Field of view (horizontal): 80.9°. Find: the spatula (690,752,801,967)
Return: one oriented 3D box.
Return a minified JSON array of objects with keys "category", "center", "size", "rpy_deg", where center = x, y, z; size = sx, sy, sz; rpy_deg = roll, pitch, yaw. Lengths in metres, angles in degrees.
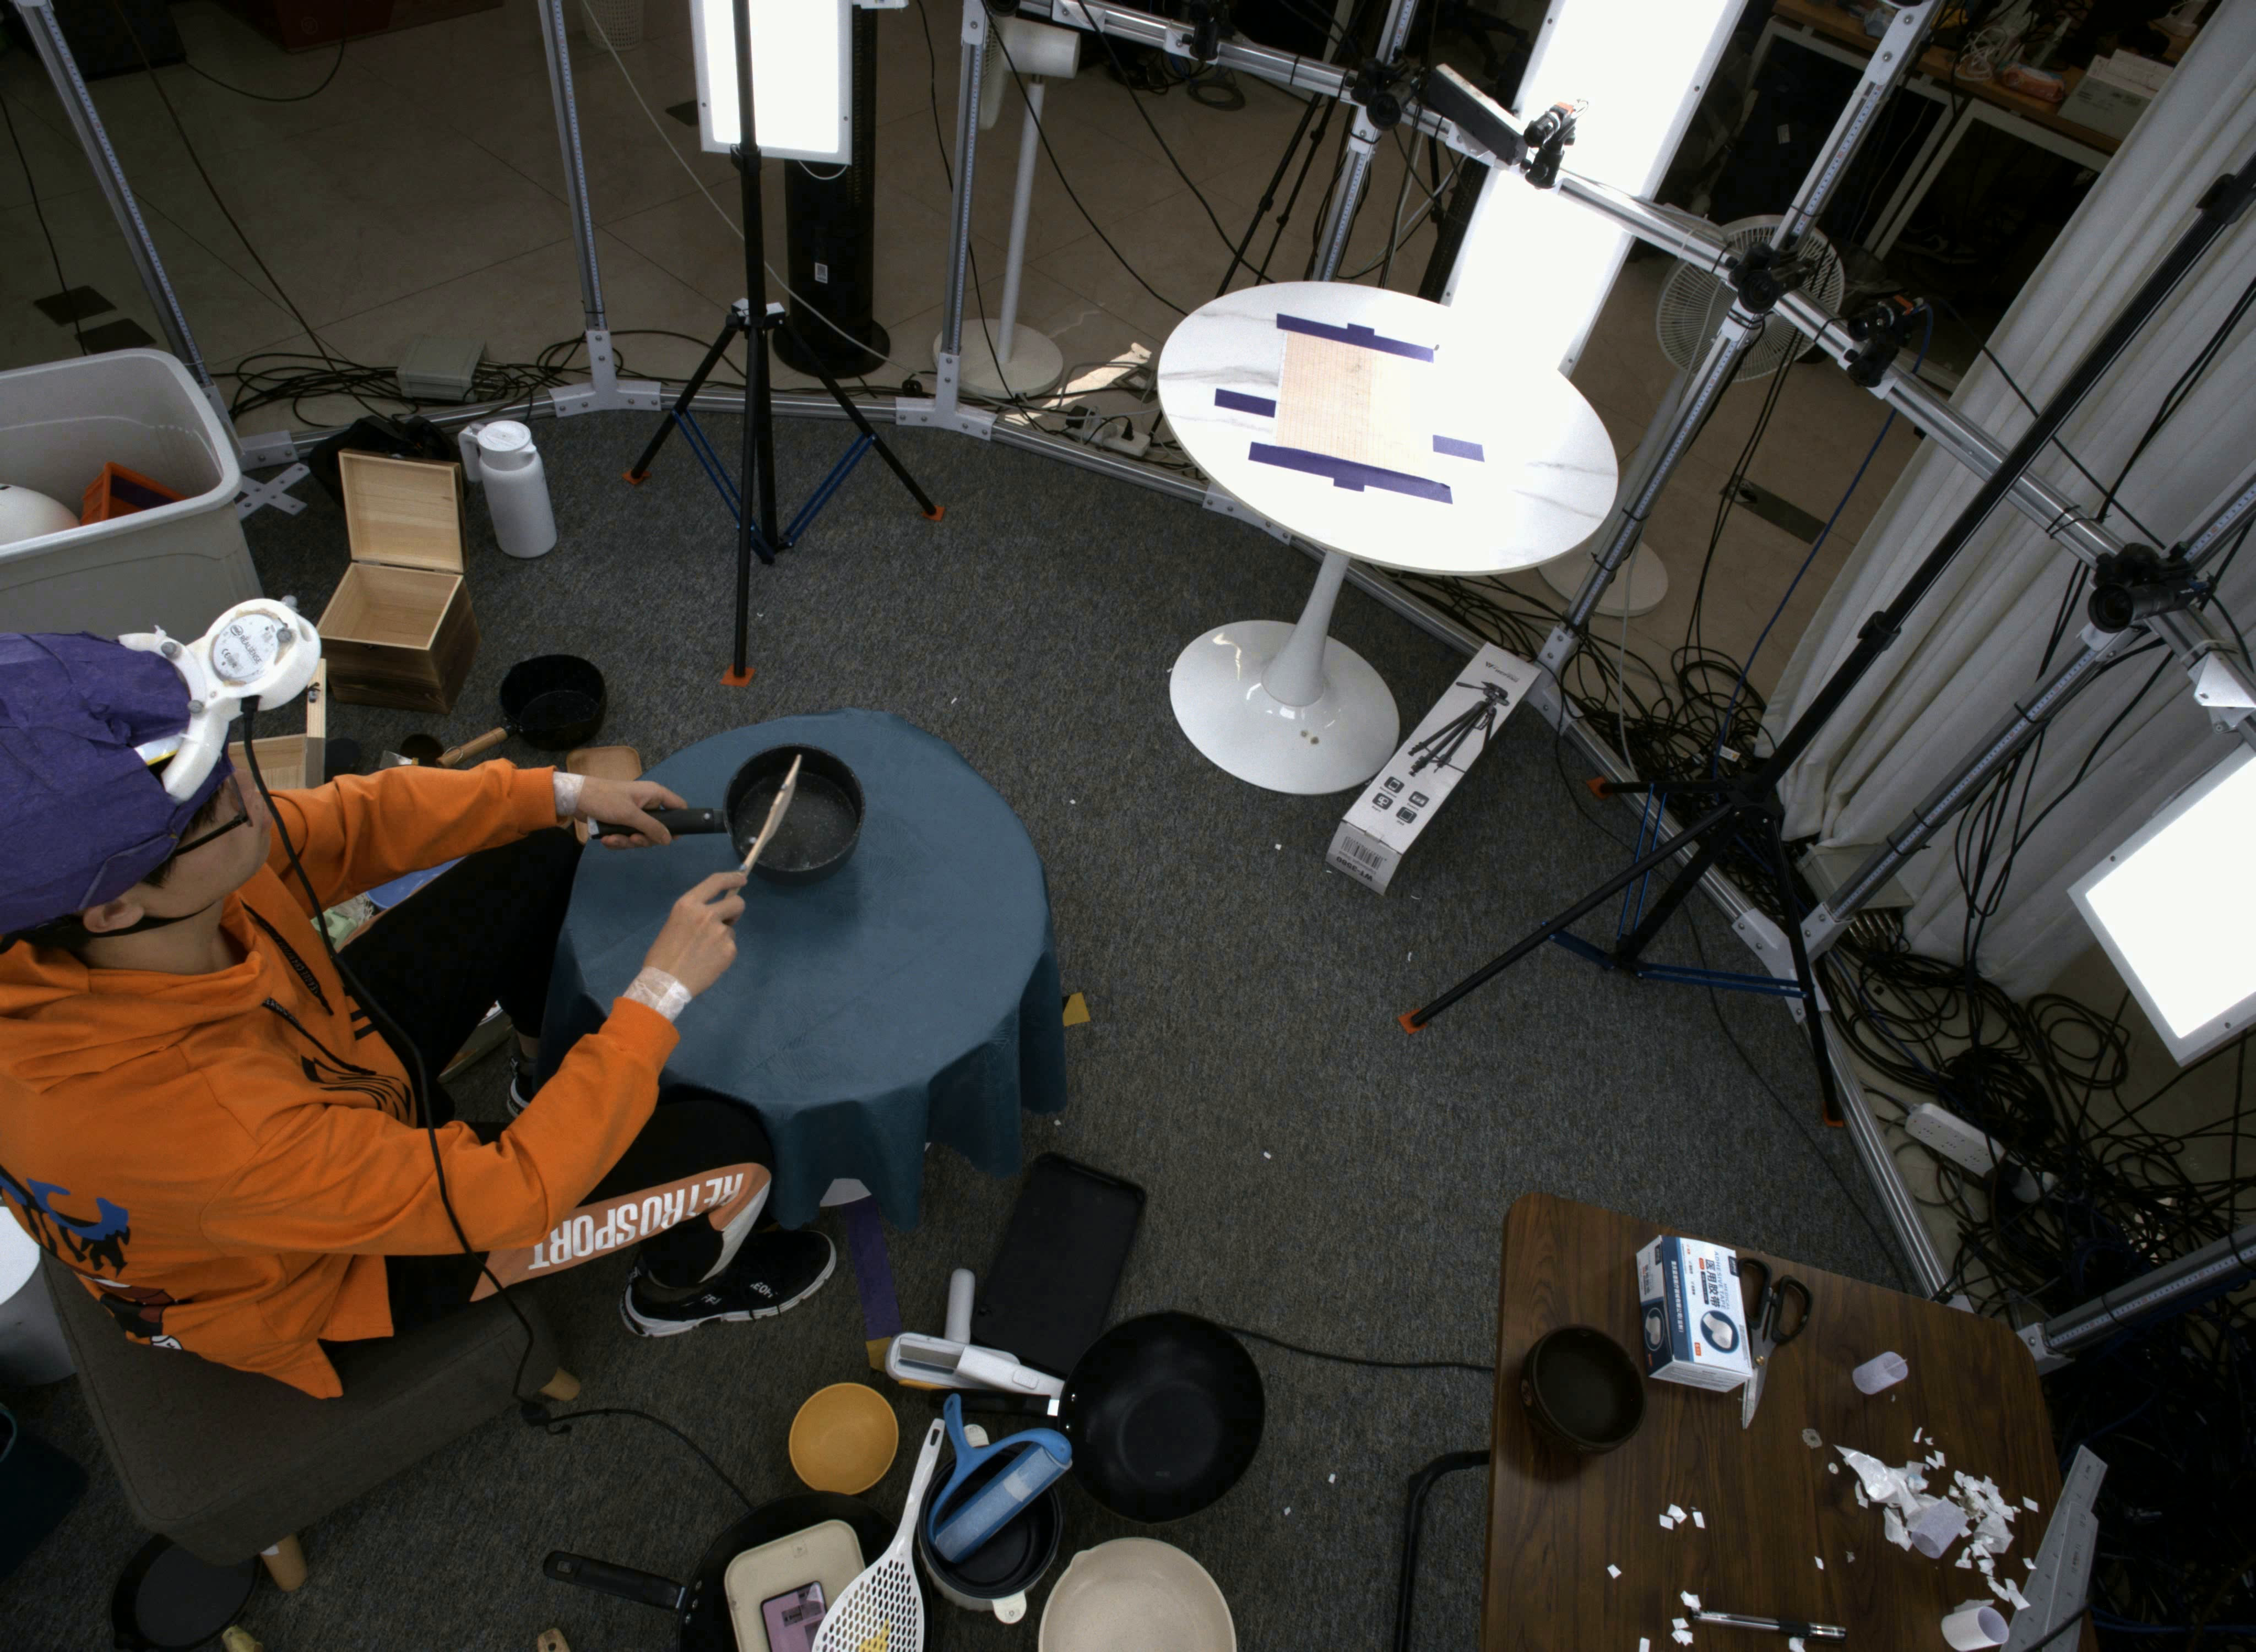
[{"category":"spatula","center":[-0.428,0.036,1.457],"size":[0.011,0.073,0.289],"rpy_deg":[24,50,-8]}]

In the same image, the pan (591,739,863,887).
[{"category":"pan","center":[-0.492,-0.010,1.586],"size":[0.330,0.087,0.170],"rpy_deg":[-3,69,-18]}]
